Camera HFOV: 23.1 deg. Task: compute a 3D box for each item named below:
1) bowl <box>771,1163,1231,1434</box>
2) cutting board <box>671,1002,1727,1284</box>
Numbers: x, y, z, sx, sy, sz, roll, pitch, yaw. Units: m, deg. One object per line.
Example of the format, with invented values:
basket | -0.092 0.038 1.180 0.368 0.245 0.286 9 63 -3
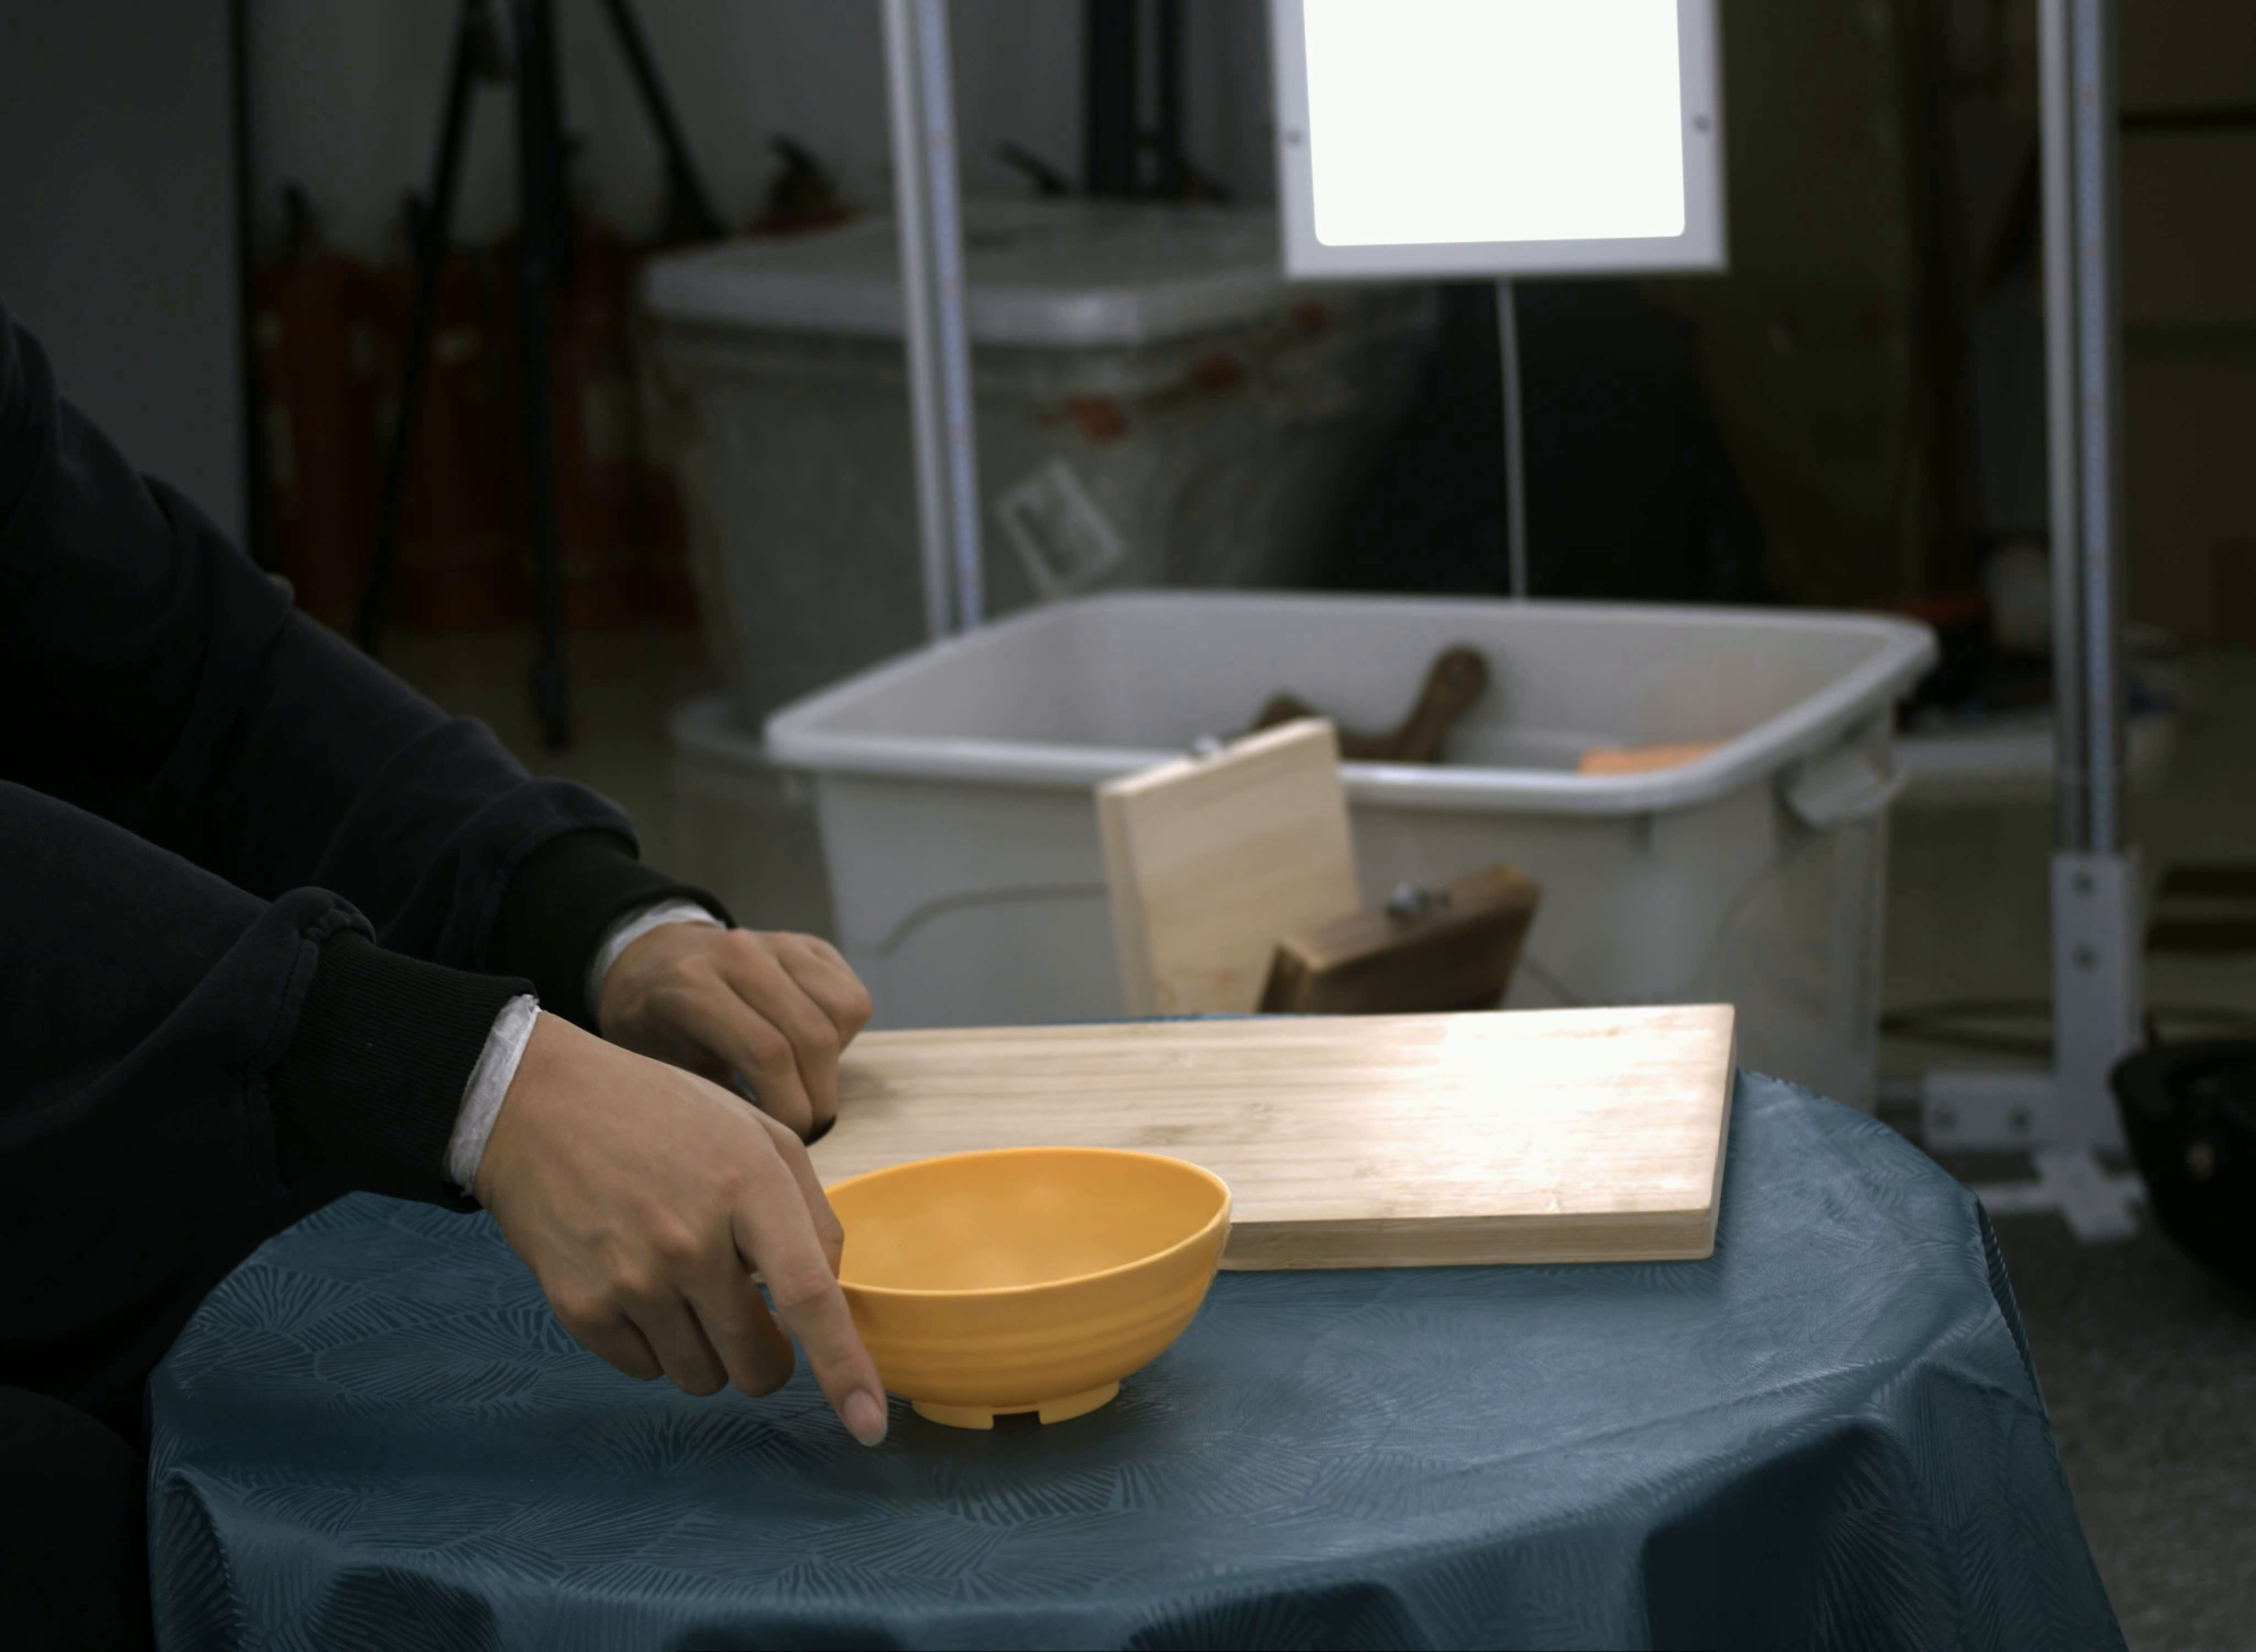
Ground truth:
bowl | -0.036 0.149 1.700 0.145 0.060 0.145 -6 11 0
cutting board | 0.033 0.110 1.921 0.350 0.023 0.248 -3 14 10
